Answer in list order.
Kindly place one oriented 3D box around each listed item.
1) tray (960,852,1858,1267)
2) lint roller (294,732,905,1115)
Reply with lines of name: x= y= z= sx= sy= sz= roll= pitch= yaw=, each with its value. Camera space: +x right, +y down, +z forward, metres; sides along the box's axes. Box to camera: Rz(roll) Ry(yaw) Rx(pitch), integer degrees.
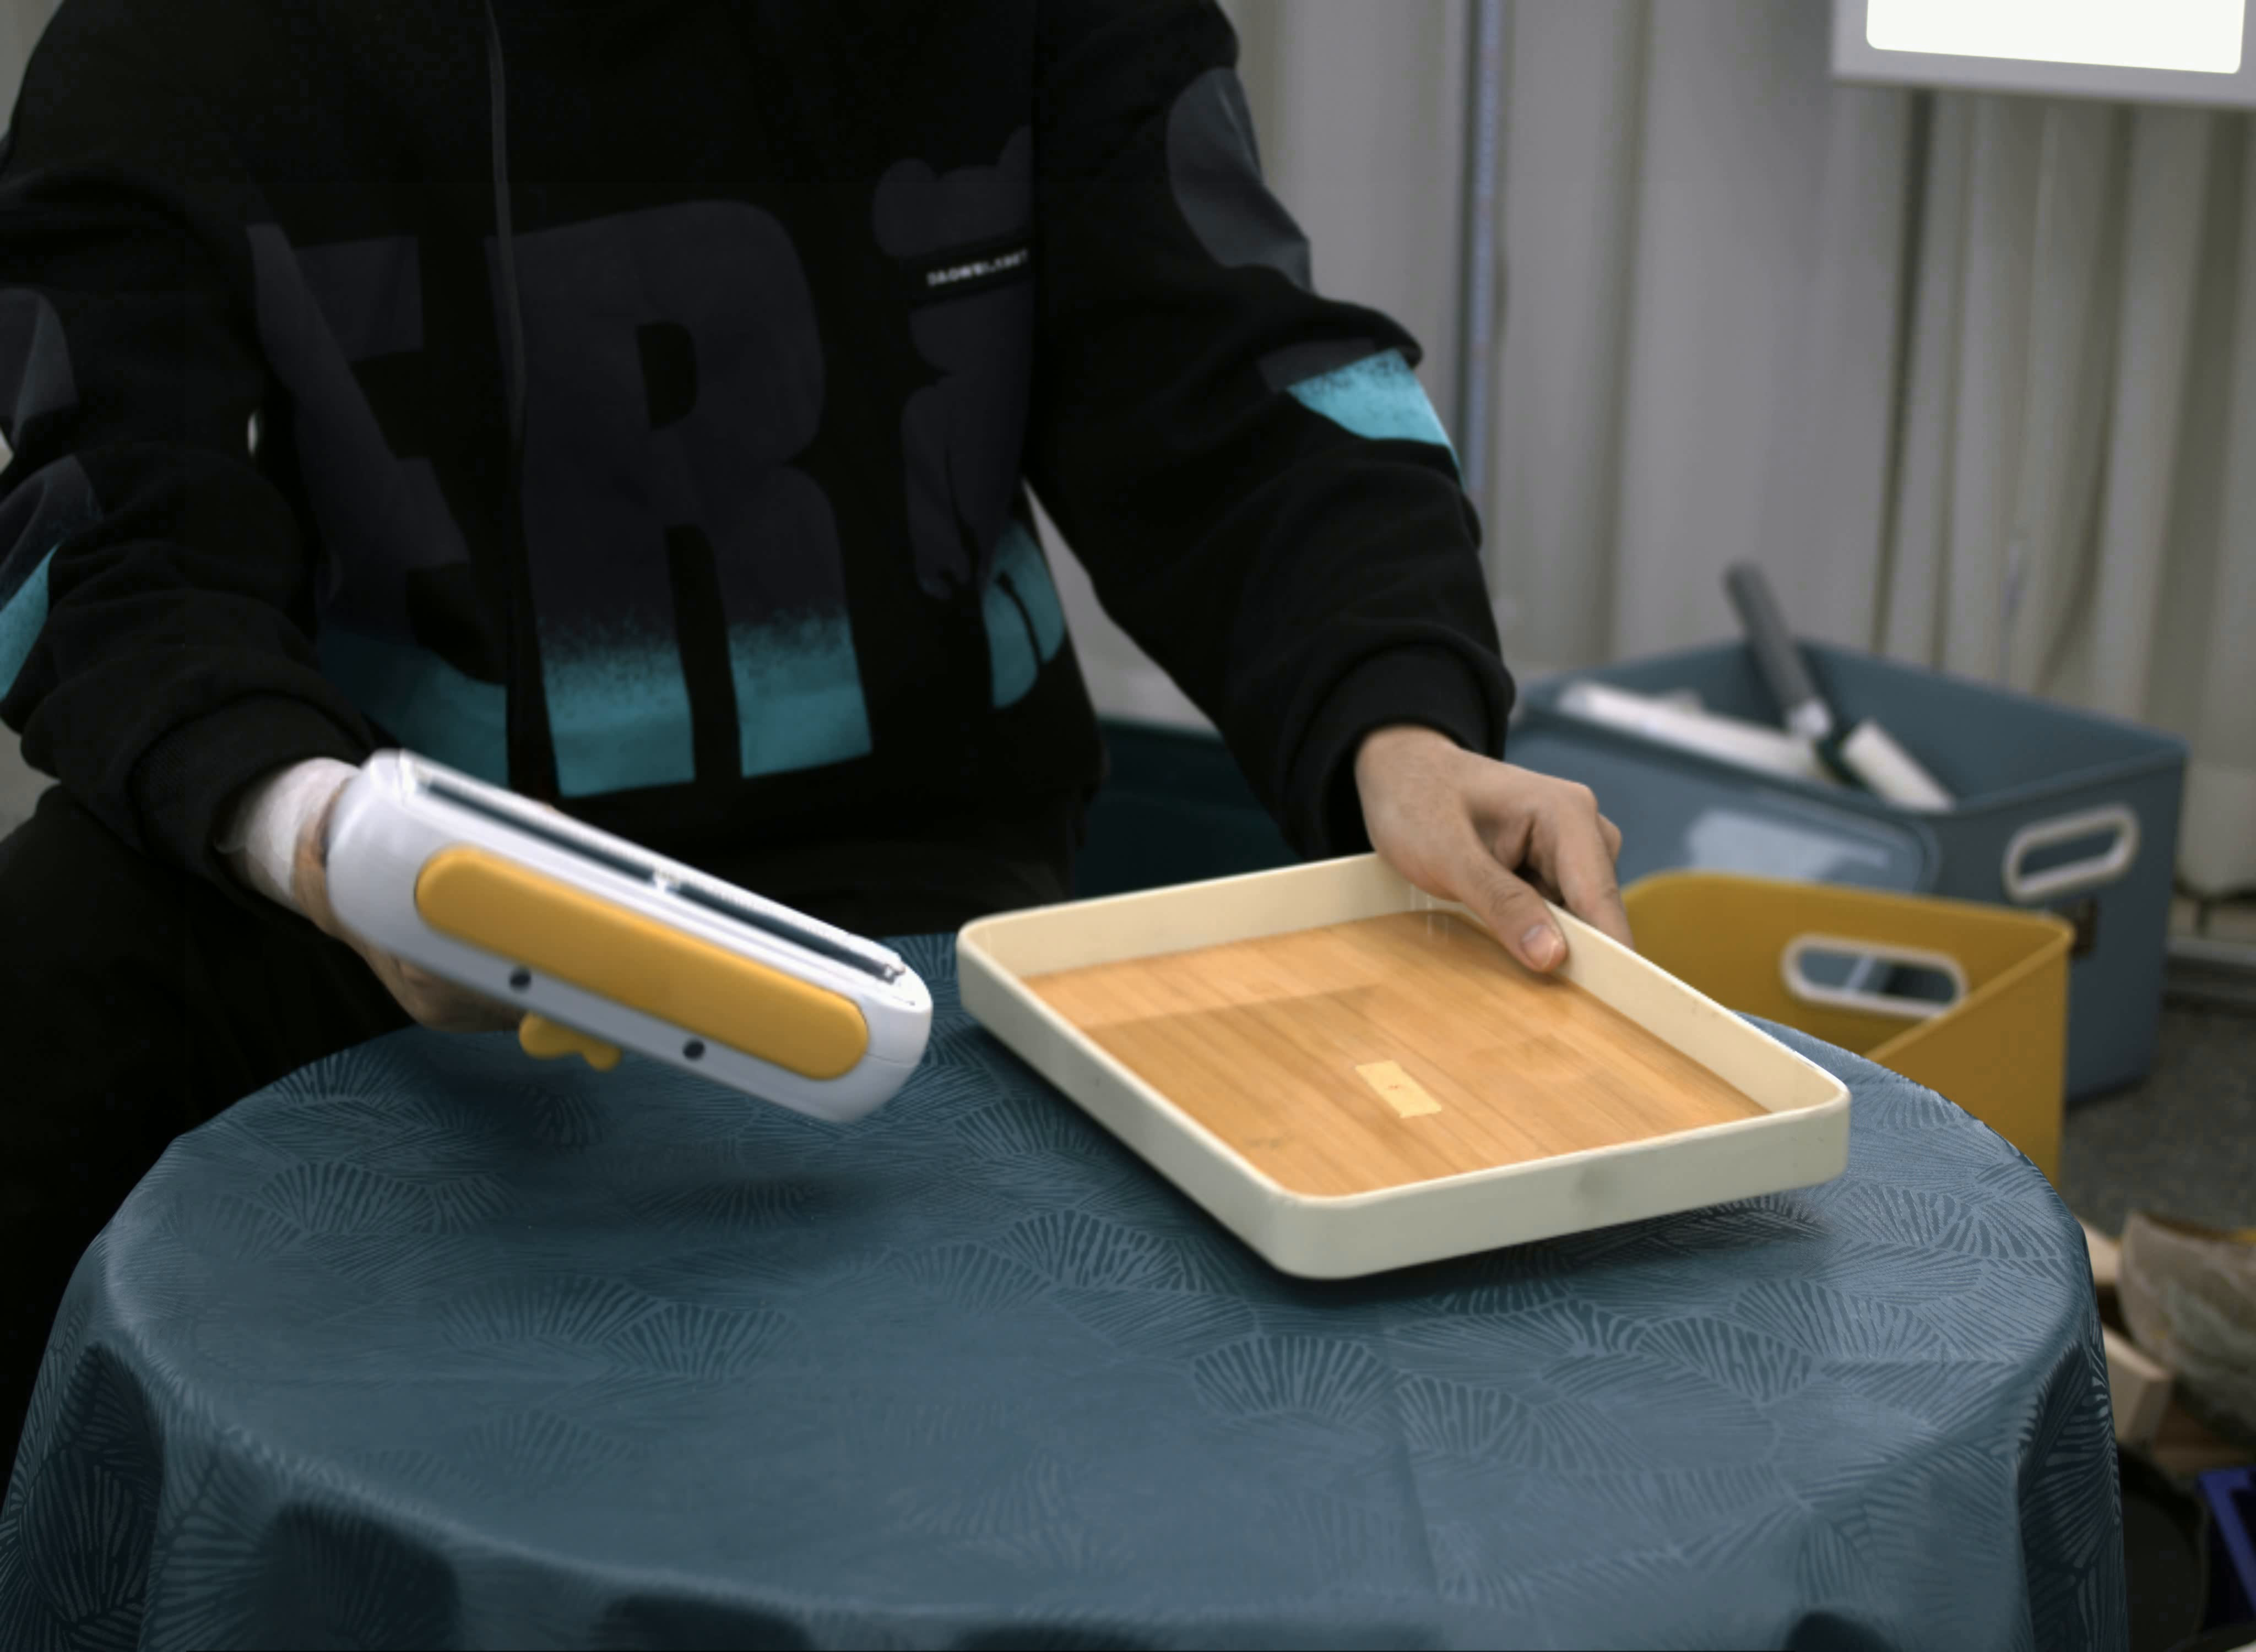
tray: x=0.082 y=0.069 z=1.674 sx=0.192 sy=0.027 sz=0.297 roll=-7 pitch=18 yaw=-21
lint roller: x=-0.172 y=0.028 z=1.635 sx=0.193 sy=0.074 sz=0.191 roll=20 pitch=4 yaw=-14
